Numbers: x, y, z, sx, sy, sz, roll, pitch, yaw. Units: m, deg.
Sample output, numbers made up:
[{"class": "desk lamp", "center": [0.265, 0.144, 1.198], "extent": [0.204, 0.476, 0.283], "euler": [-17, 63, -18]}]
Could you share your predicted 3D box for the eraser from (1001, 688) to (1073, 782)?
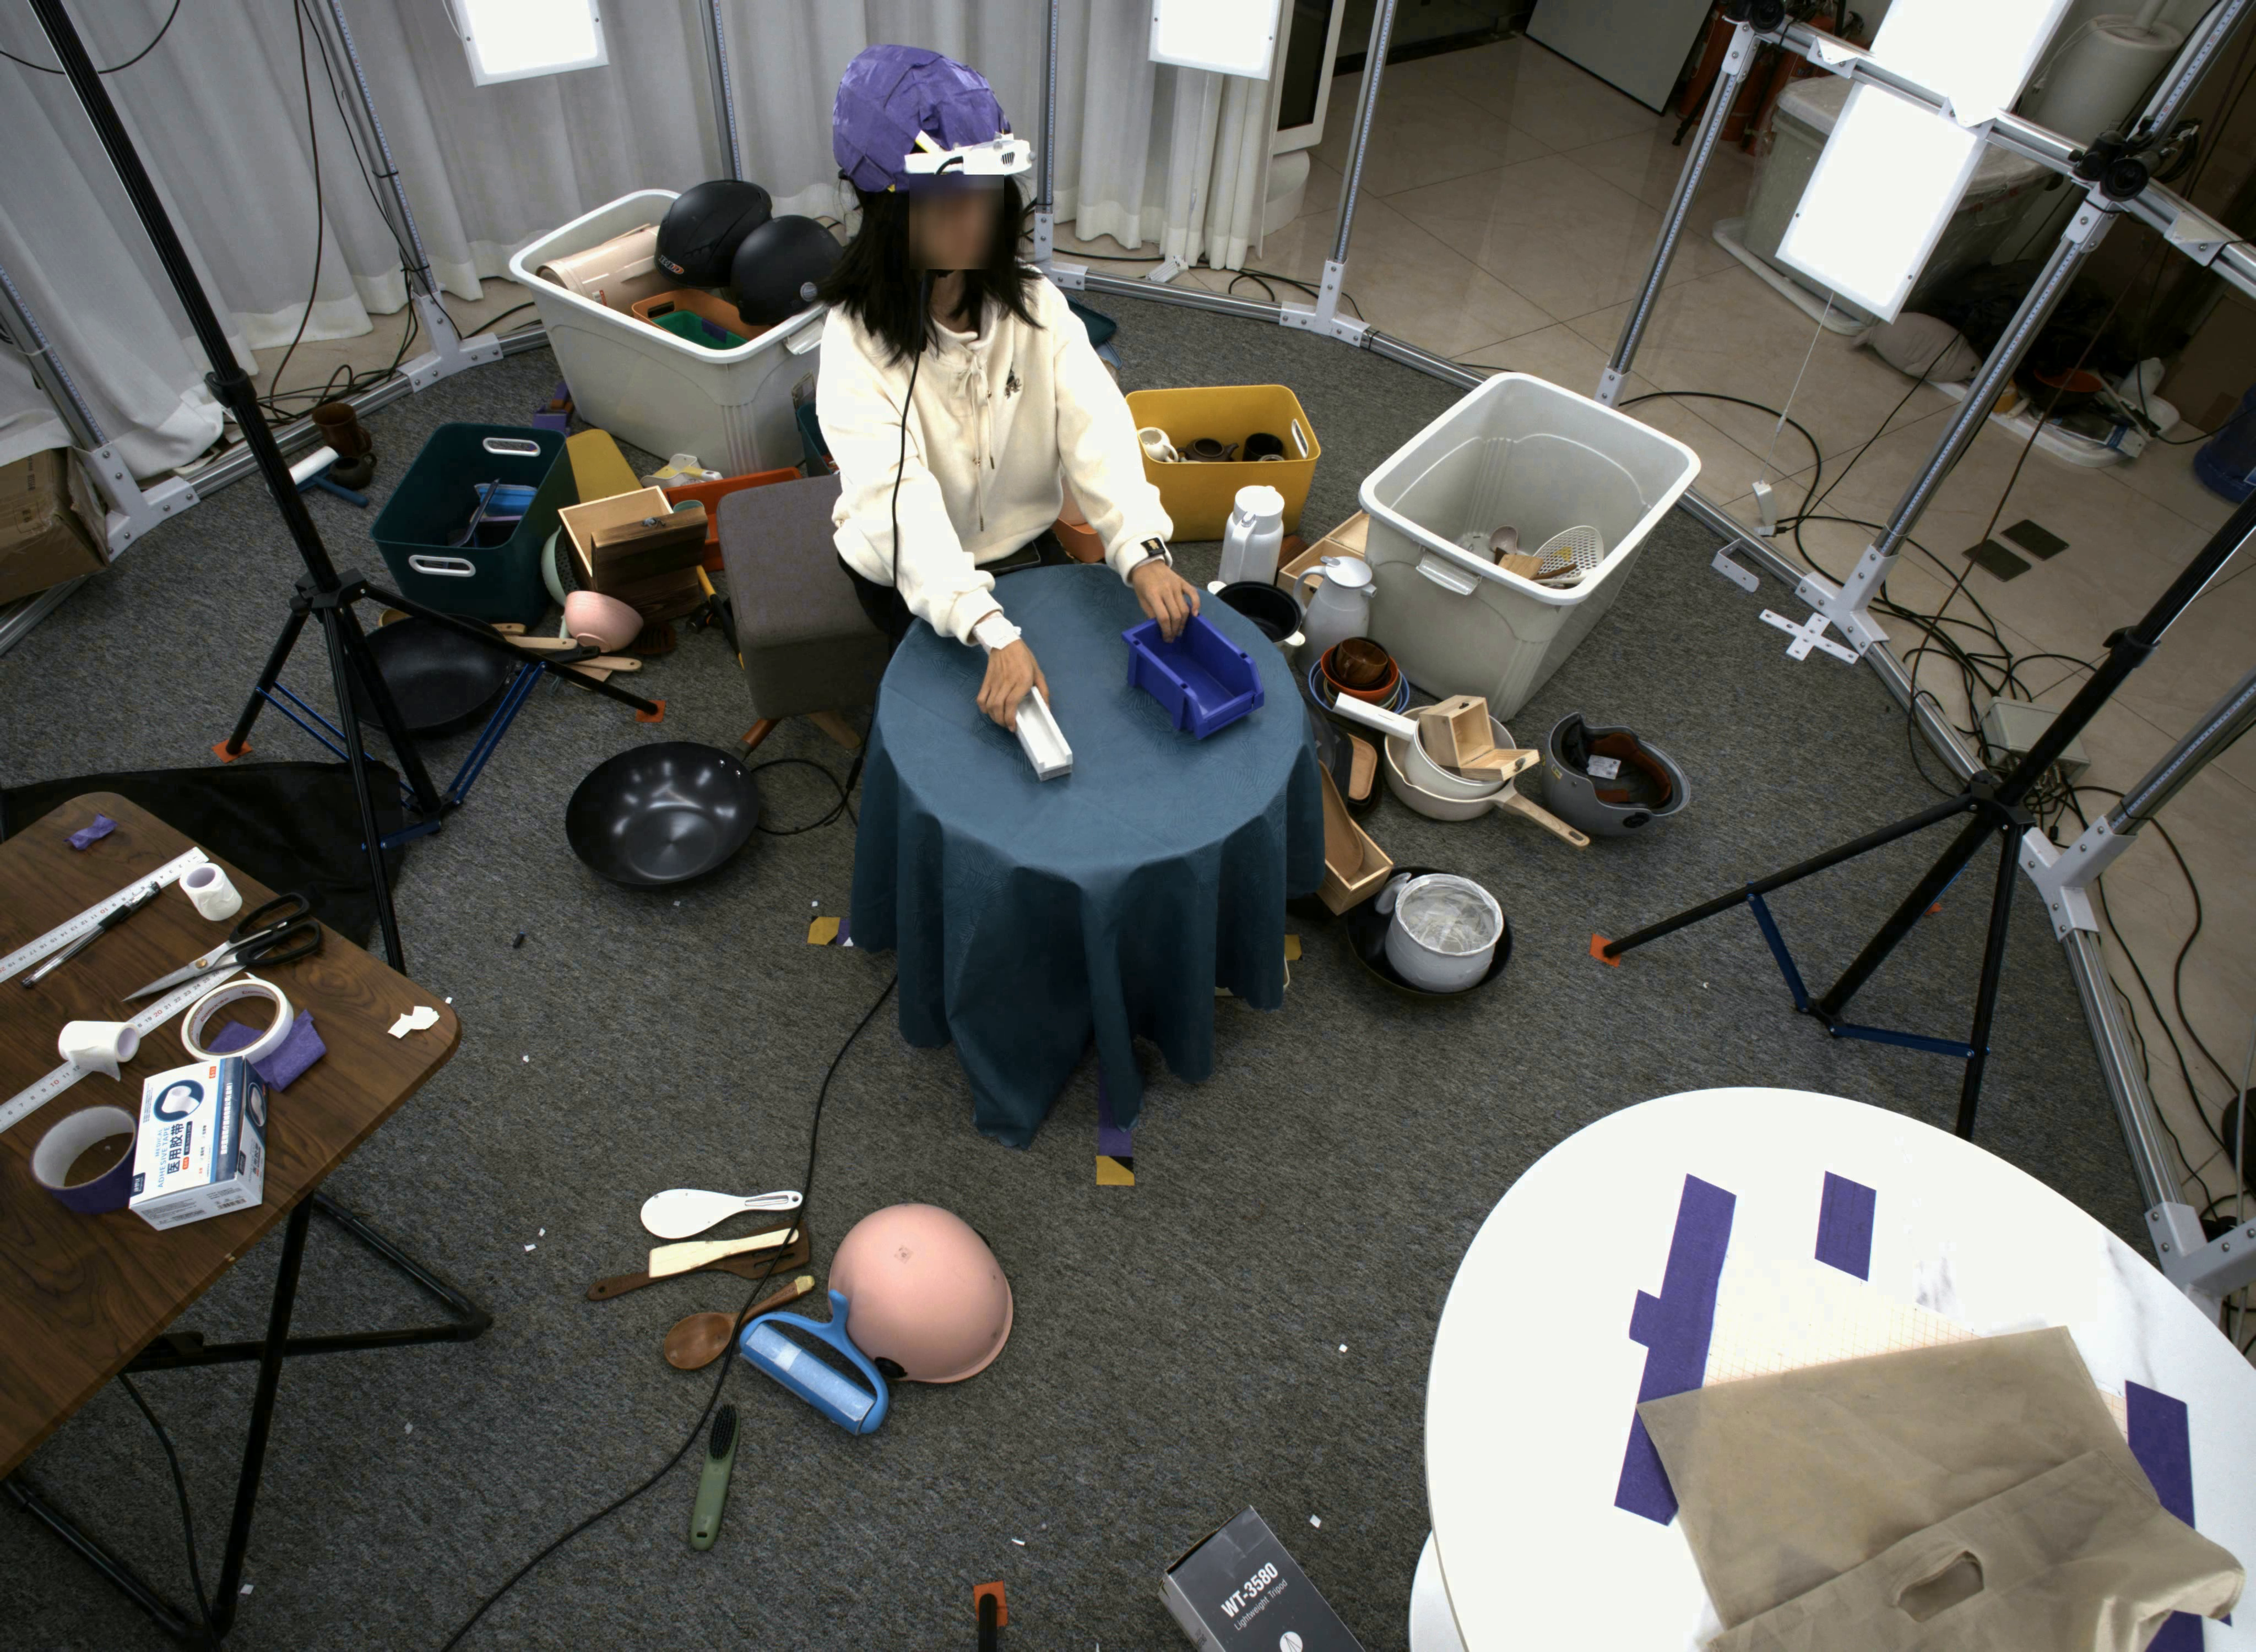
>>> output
[{"class": "eraser", "center": [-0.124, -0.124, 1.738], "extent": [0.050, 0.045, 0.137], "euler": [-20, 54, -16]}]

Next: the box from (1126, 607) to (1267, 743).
[{"class": "box", "center": [0.098, -0.210, 1.806], "extent": [0.125, 0.080, 0.183], "euler": [-27, 54, -24]}]
